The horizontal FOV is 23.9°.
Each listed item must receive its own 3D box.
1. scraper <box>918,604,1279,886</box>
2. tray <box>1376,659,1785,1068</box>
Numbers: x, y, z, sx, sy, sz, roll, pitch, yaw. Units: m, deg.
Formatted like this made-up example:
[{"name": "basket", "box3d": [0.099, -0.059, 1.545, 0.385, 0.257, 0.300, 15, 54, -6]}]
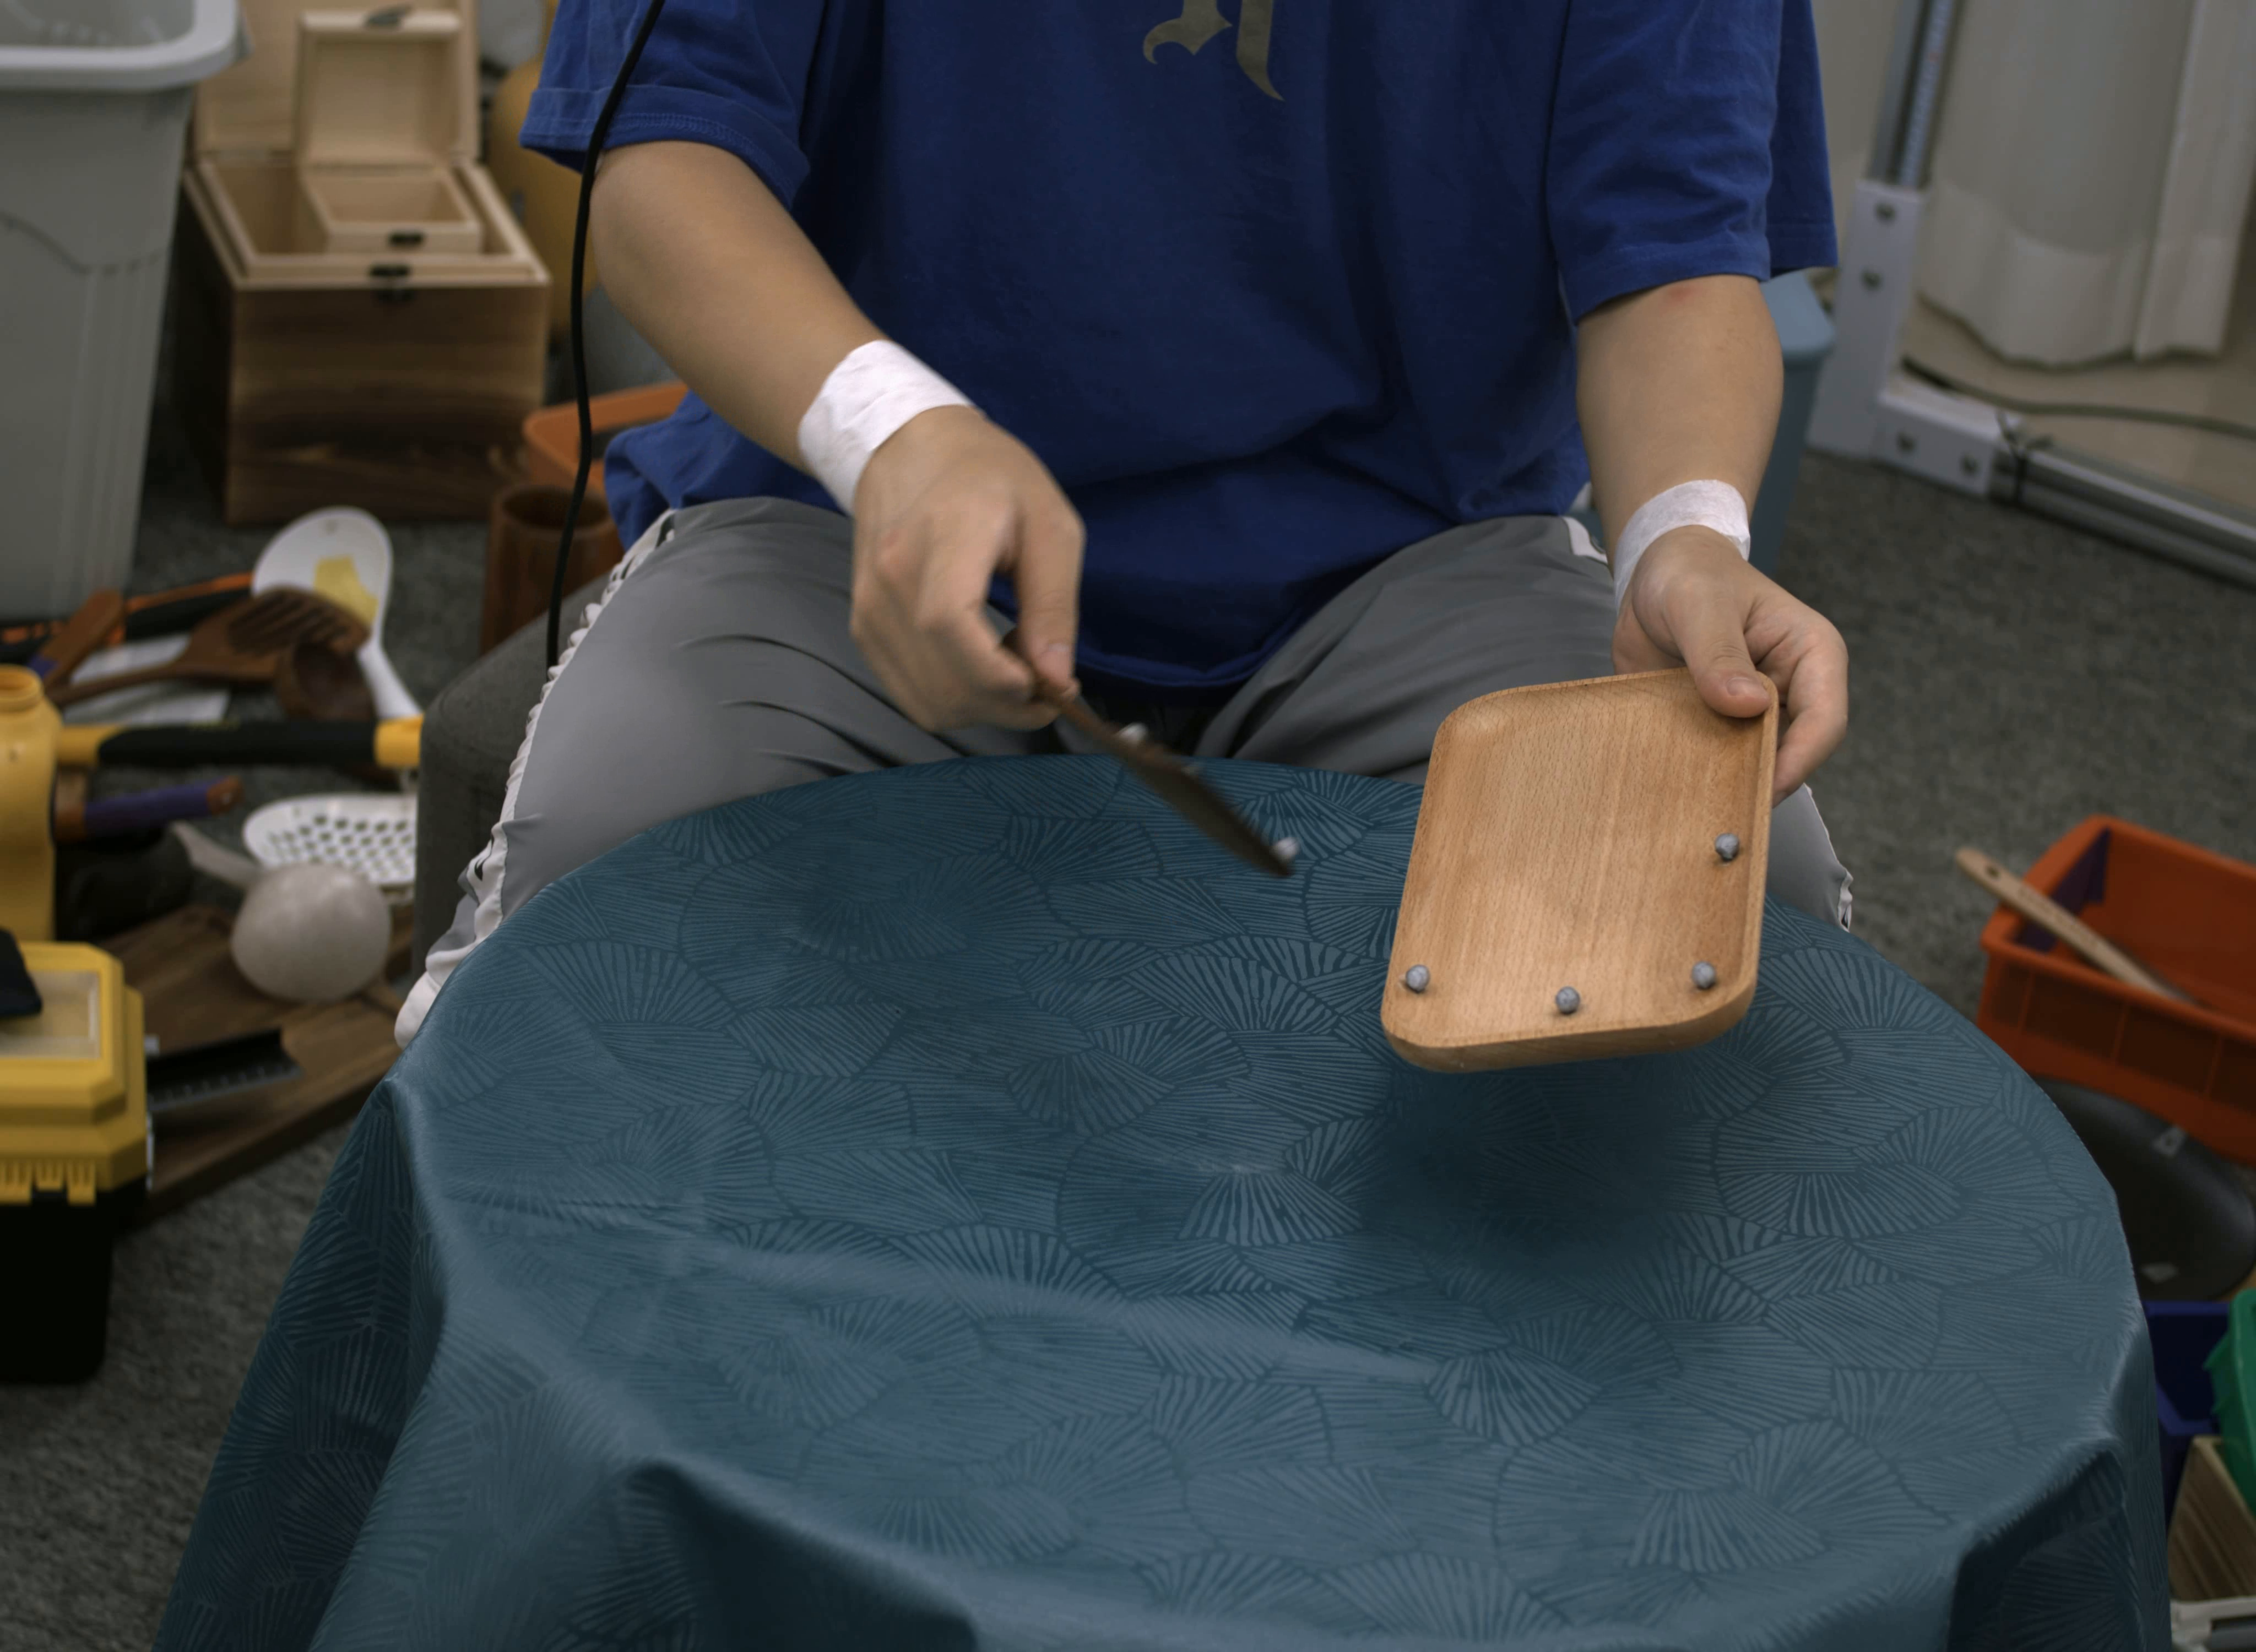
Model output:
[{"name": "scraper", "box3d": [-0.019, -0.034, 1.876, 0.075, 0.011, 0.213, 41, -2, -38]}, {"name": "tray", "box3d": [0.161, 0.011, 1.855, 0.130, 0.023, 0.252, -4, 28, 13]}]
